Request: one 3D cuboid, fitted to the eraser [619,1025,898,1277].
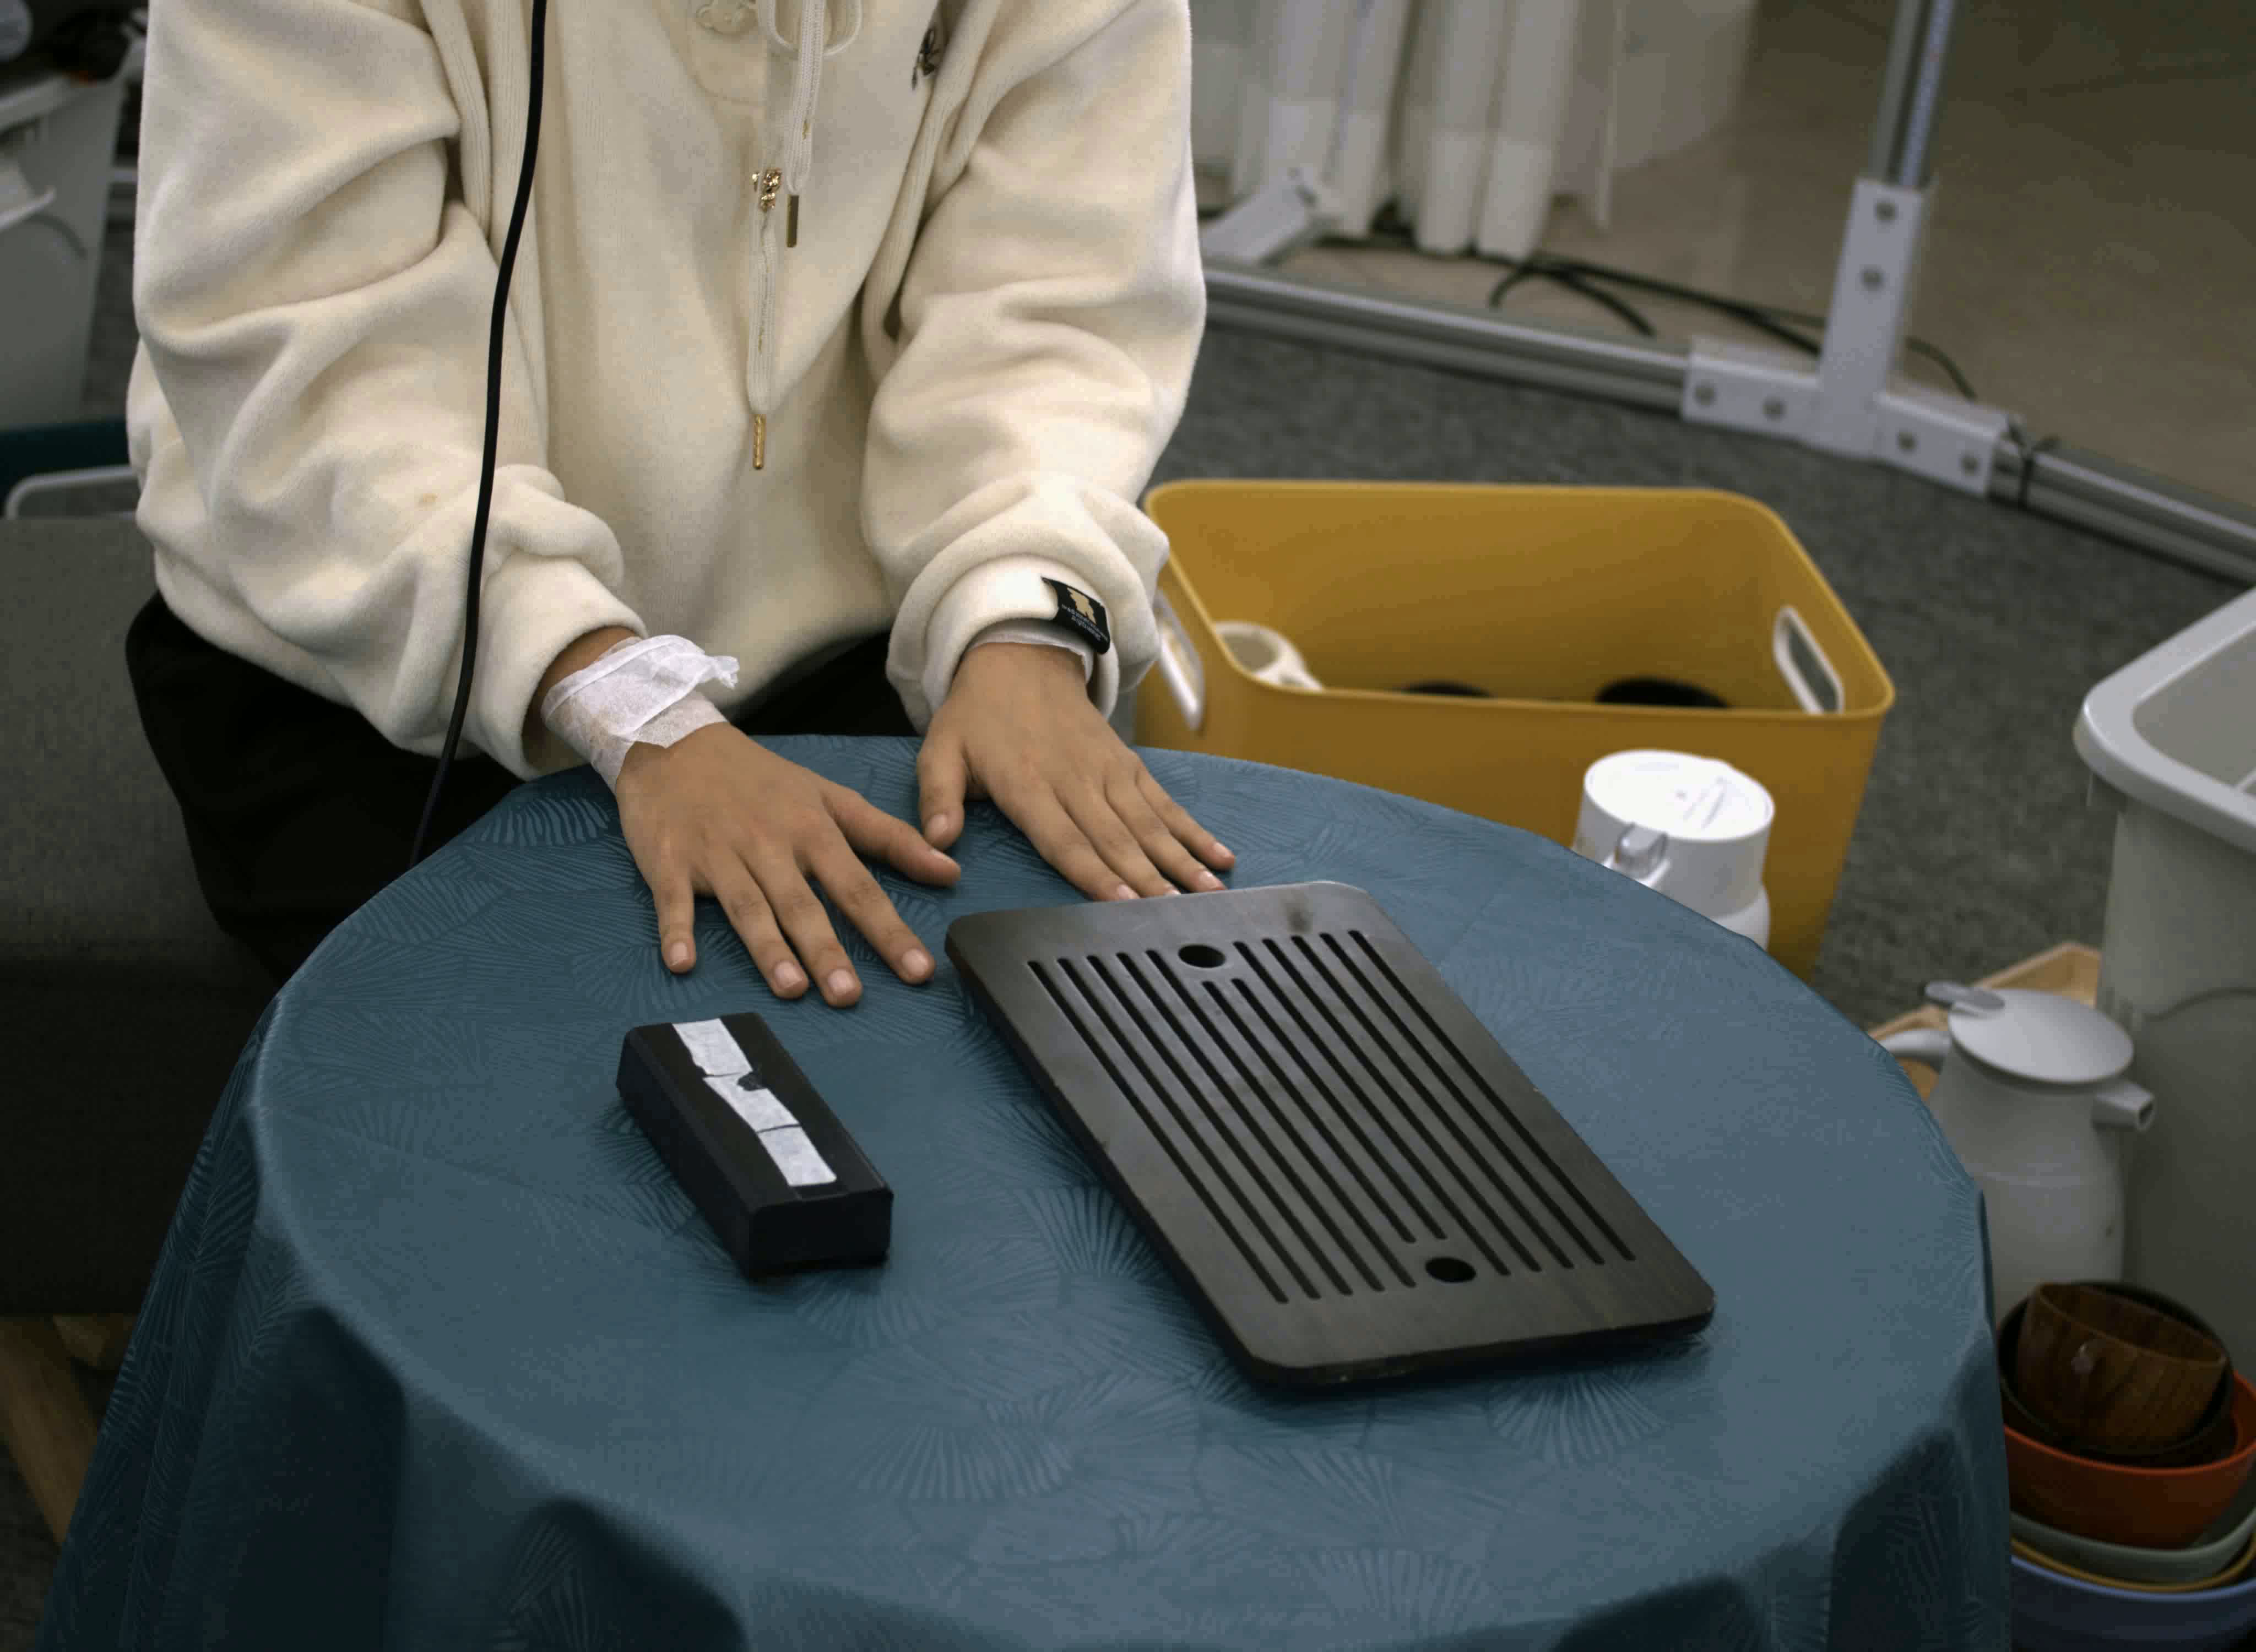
[{"bbox_3d":[-0.124,0.108,1.776,0.053,0.030,0.126,-4,27,-26],"label":"eraser"}]

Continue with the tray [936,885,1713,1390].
[{"bbox_3d":[0.061,0.104,1.834,0.169,0.018,0.309,-5,29,-22],"label":"tray"}]
